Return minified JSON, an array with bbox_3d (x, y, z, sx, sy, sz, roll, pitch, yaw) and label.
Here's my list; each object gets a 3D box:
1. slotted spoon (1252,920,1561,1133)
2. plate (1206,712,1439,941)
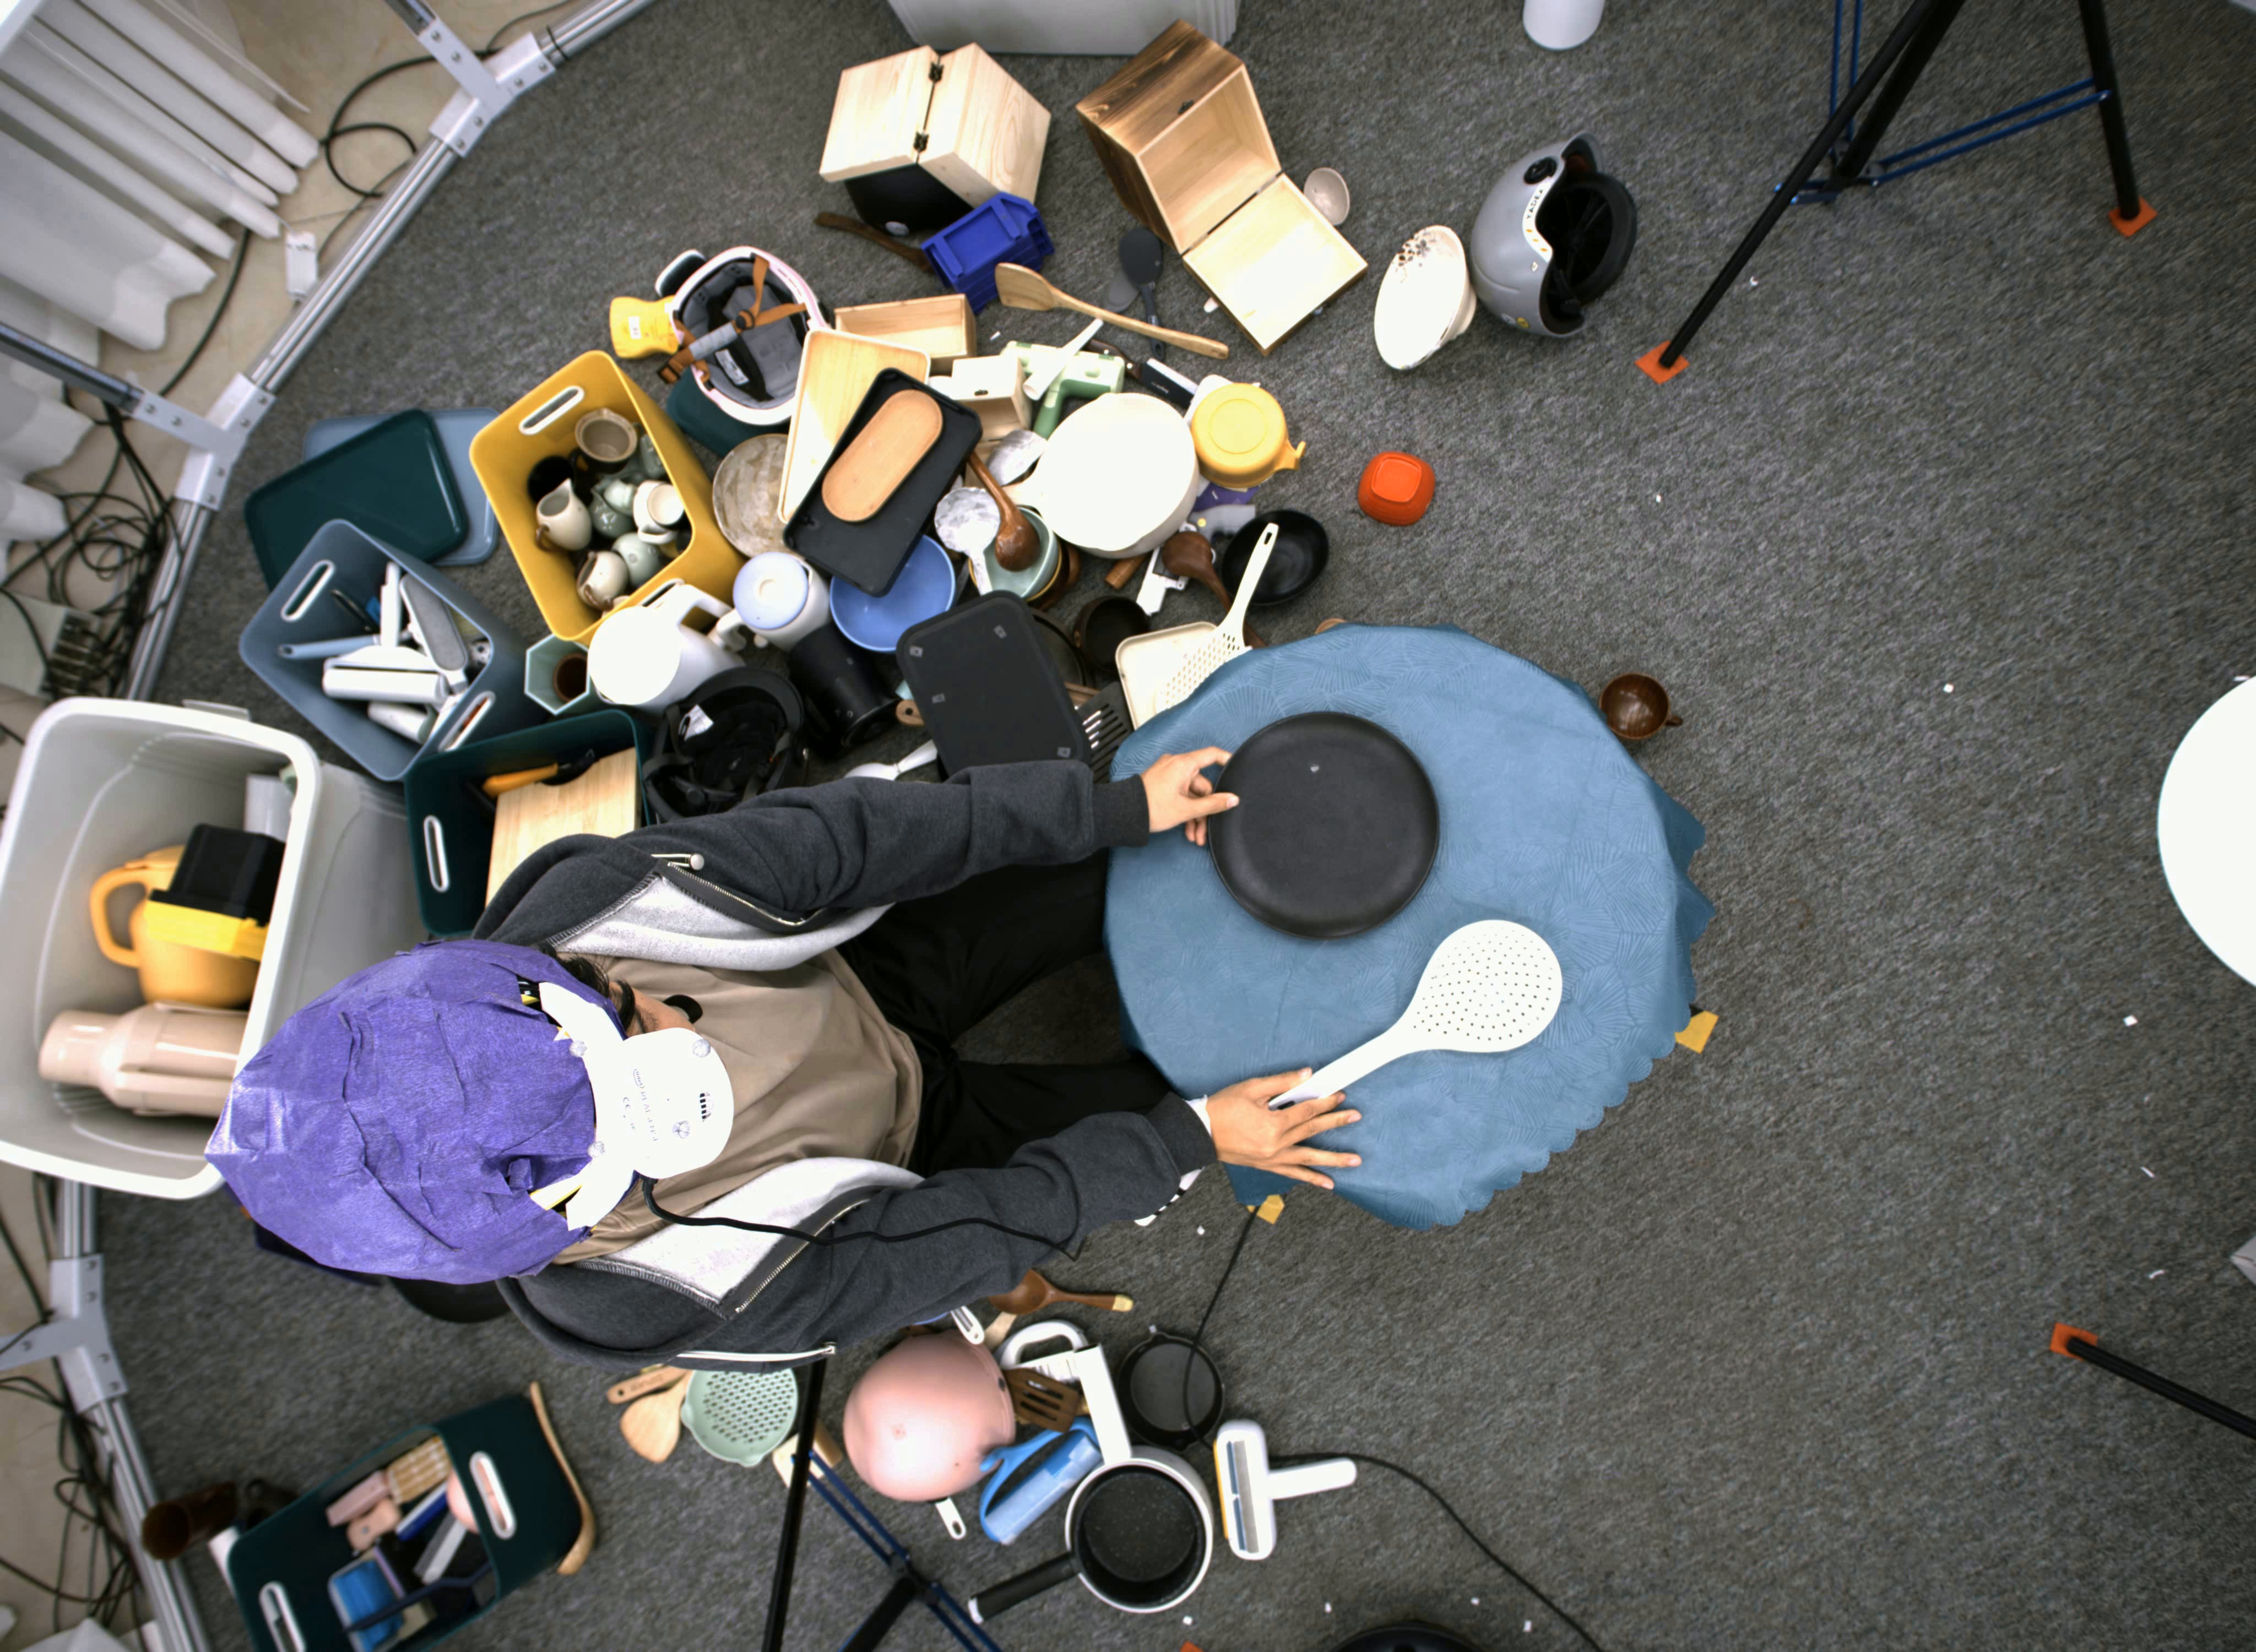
[{"bbox_3d":[0.281,0.218,1.424,0.352,0.045,0.136,-33,94,7],"label":"slotted spoon"},{"bbox_3d":[0.205,0.000,1.461,0.245,0.023,0.243,-1,88,9],"label":"plate"}]
